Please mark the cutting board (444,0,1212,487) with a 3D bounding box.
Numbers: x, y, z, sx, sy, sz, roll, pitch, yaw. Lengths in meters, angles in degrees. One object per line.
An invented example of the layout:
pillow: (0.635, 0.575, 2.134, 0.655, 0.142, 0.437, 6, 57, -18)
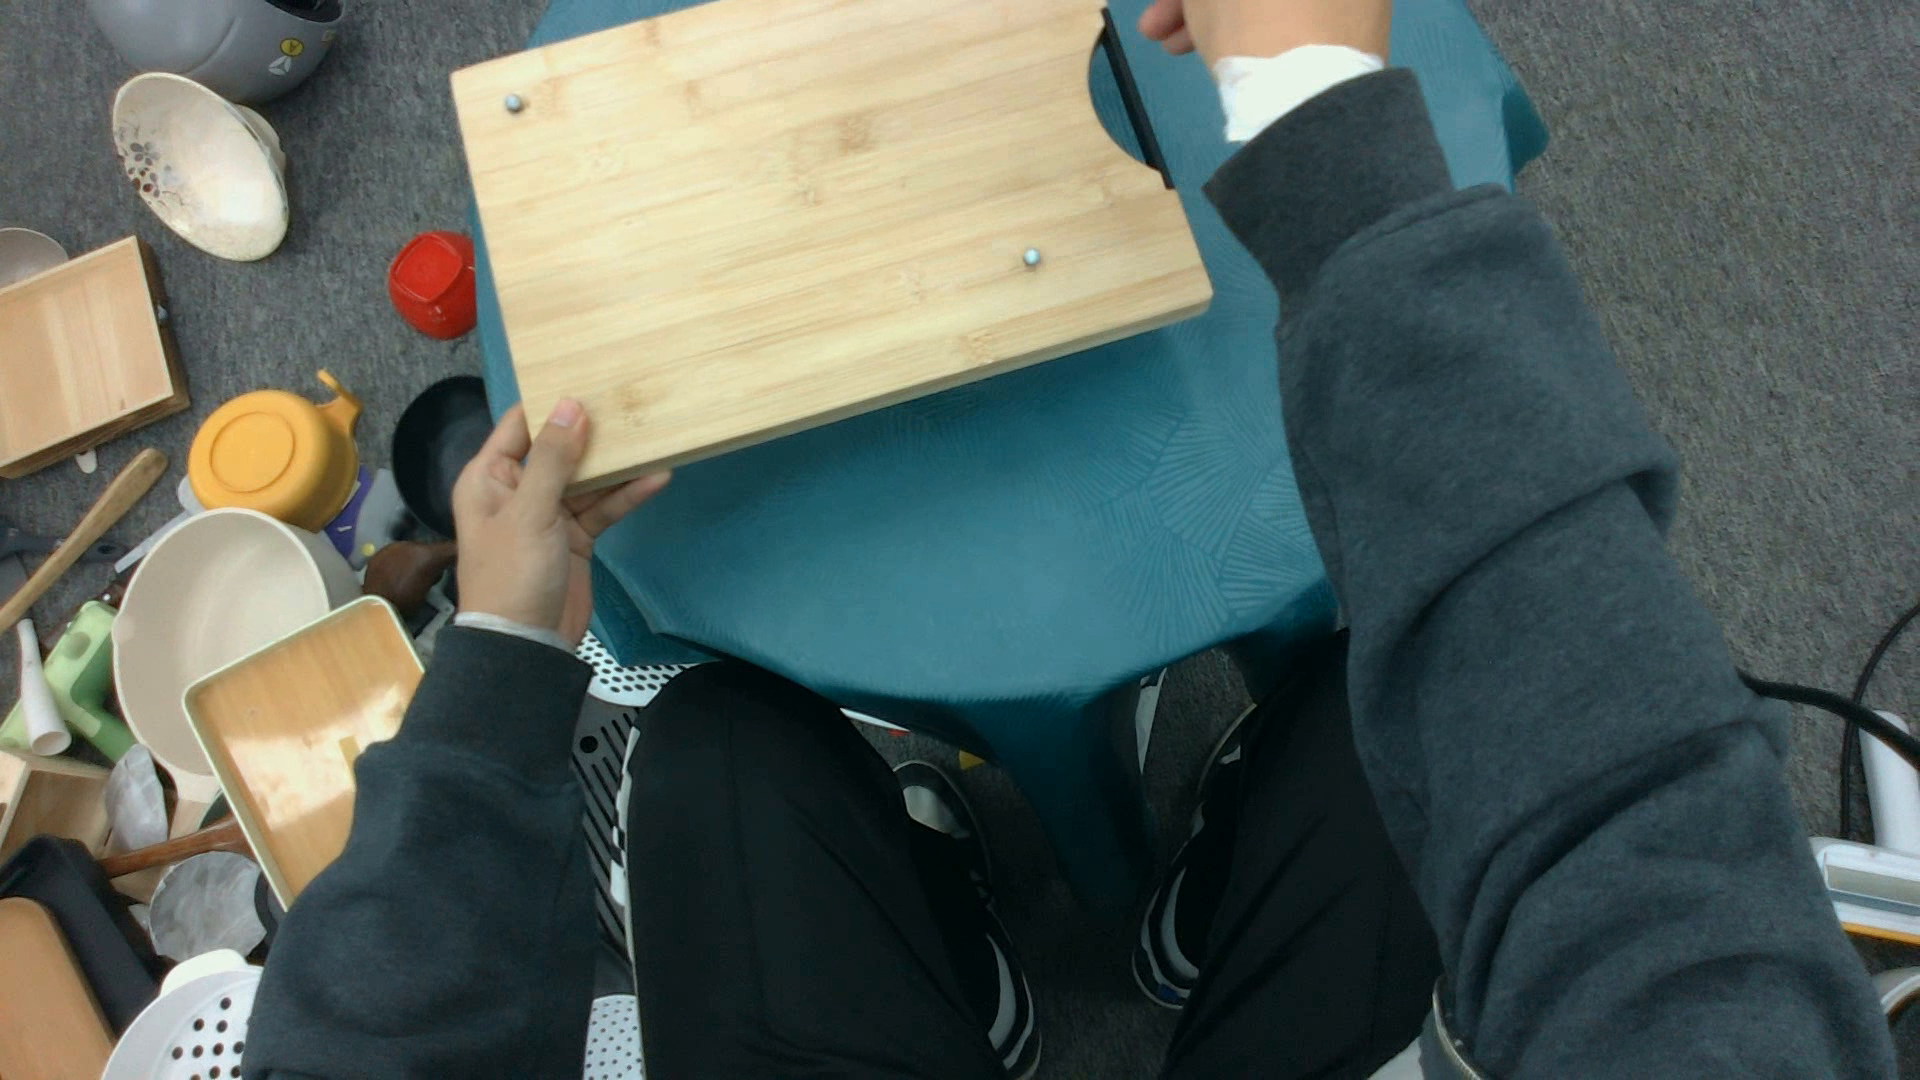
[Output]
cutting board: (-0.076, -0.186, 0.709, 0.349, 0.023, 0.251, -18, 76, -5)
